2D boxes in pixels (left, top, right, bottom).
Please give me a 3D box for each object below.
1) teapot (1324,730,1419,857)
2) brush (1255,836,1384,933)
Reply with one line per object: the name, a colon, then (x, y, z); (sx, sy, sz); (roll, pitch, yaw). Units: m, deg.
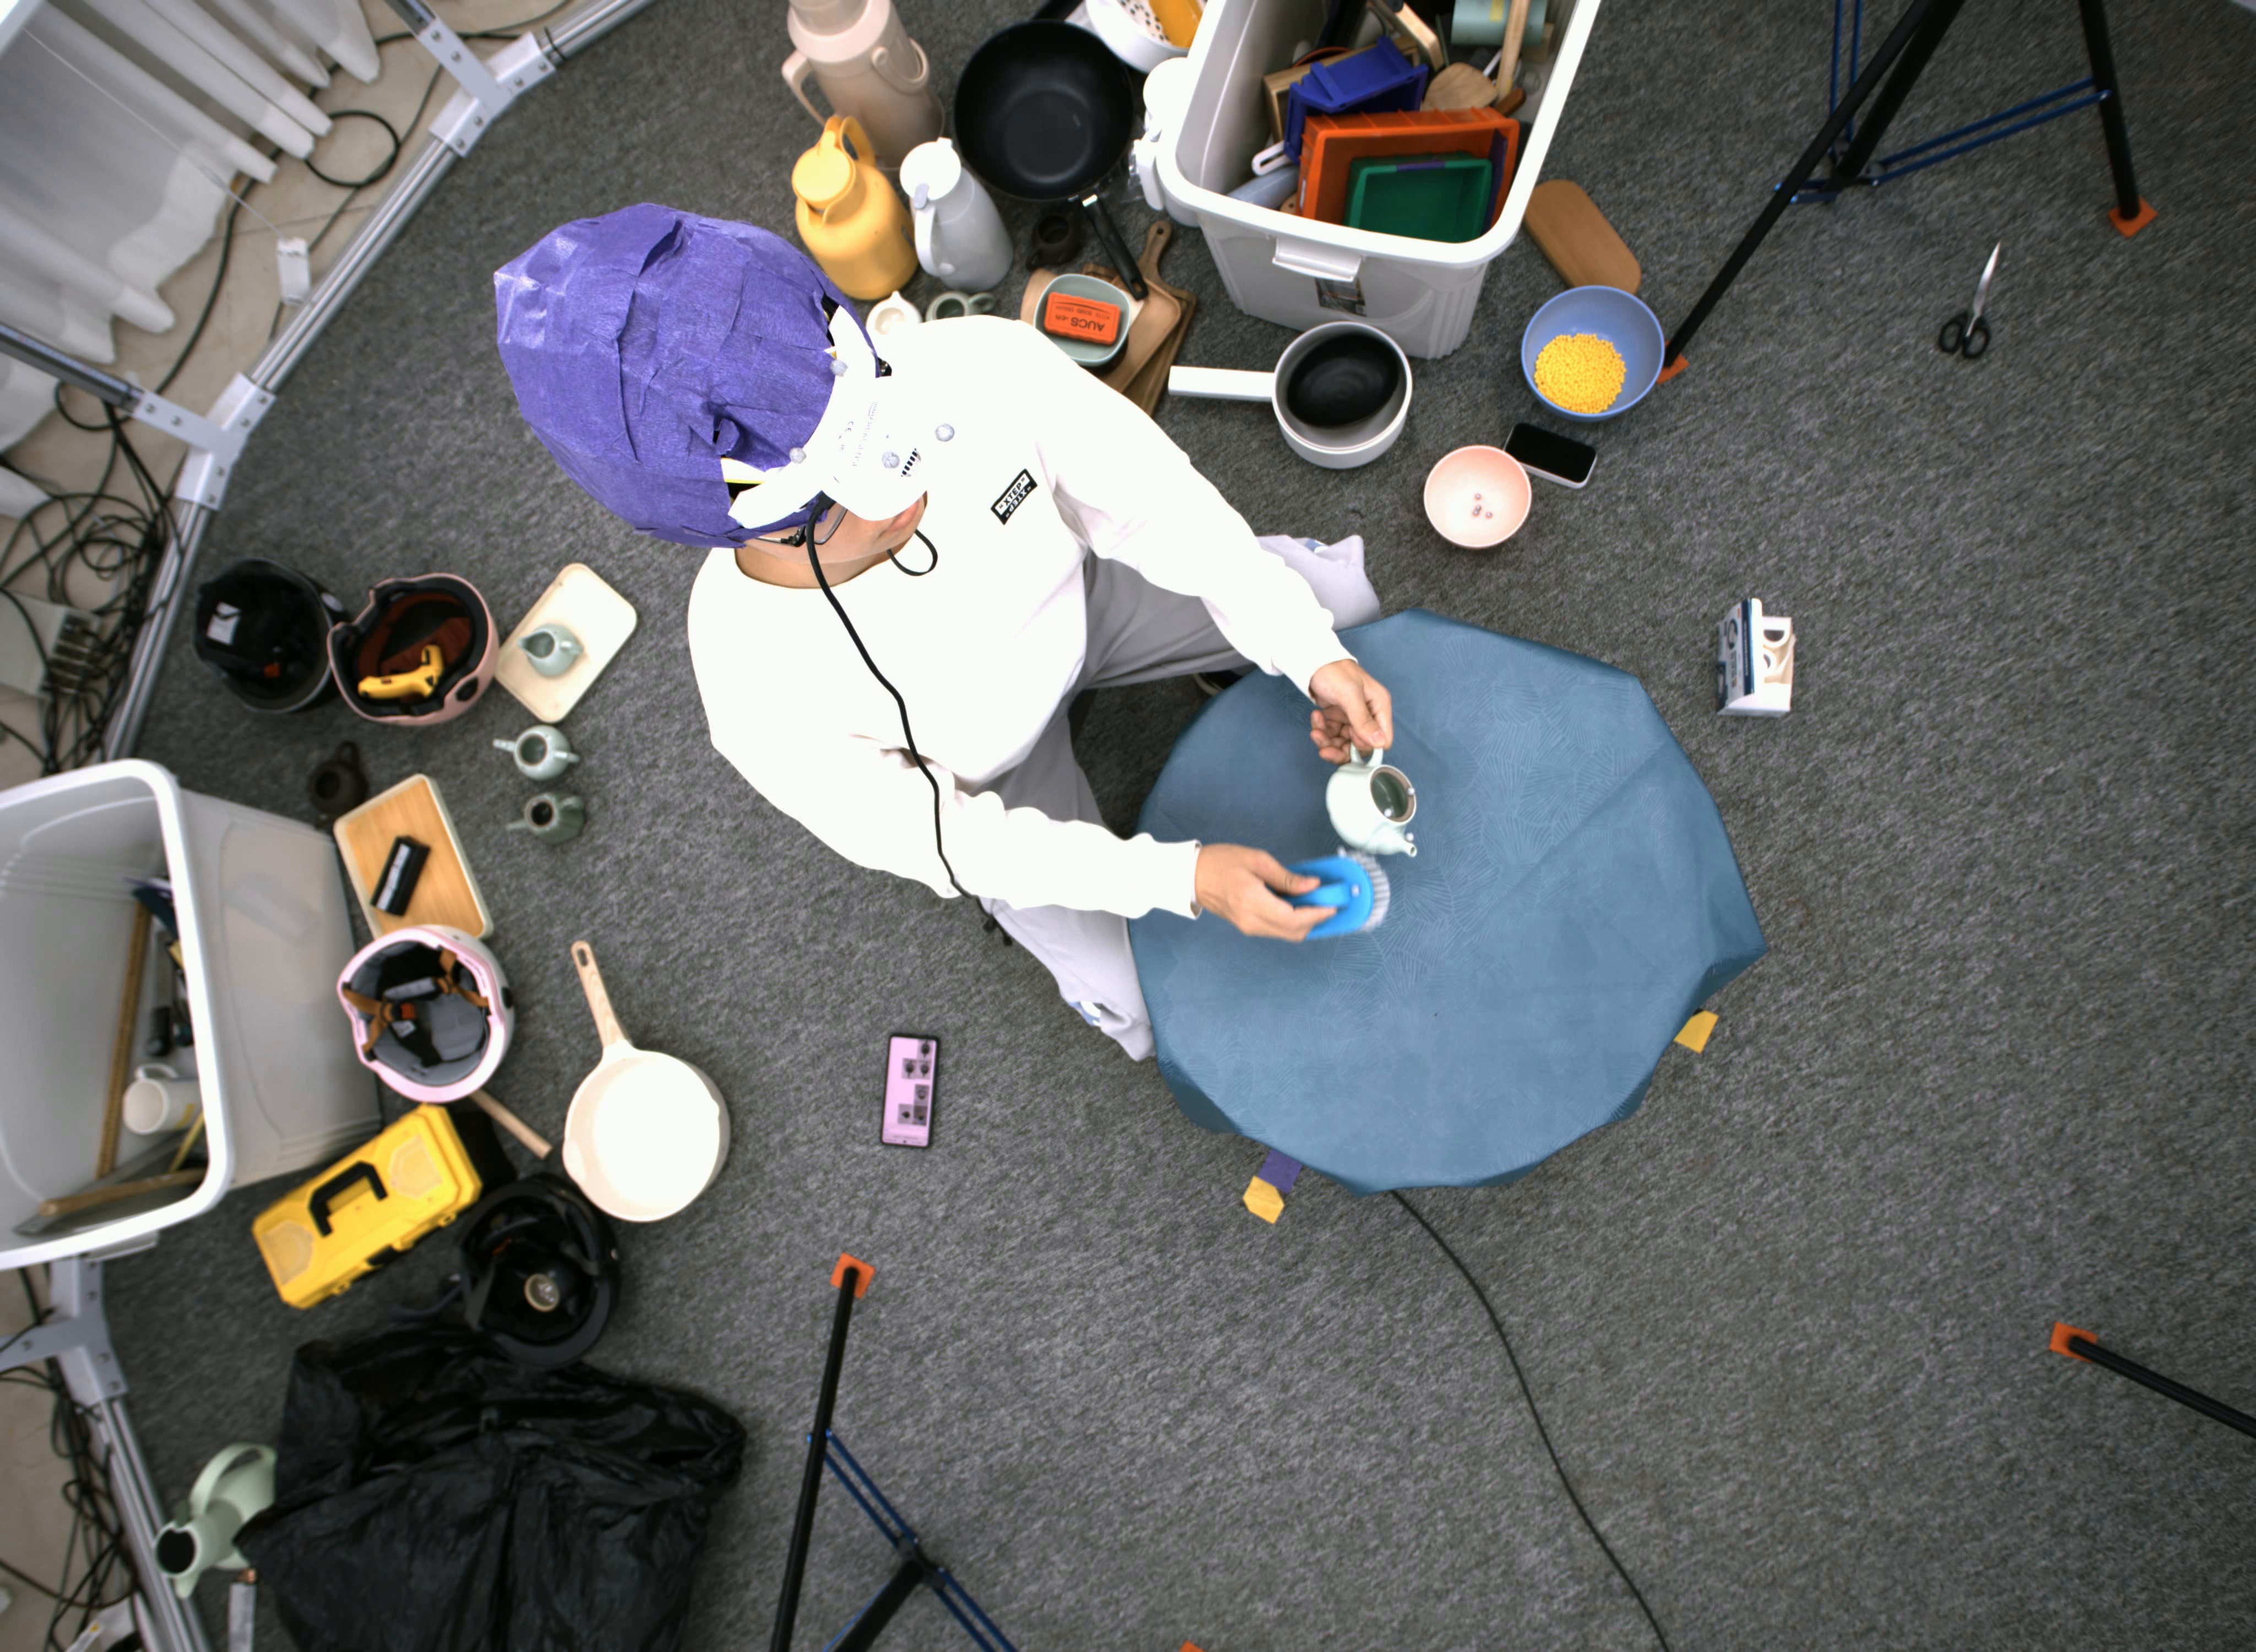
teapot: (0.241, -0.027, 1.361); (0.095, 0.062, 0.136); (-14, 81, -33)
brush: (0.177, 0.062, 1.347); (0.143, 0.063, 0.084); (-13, 97, 47)
